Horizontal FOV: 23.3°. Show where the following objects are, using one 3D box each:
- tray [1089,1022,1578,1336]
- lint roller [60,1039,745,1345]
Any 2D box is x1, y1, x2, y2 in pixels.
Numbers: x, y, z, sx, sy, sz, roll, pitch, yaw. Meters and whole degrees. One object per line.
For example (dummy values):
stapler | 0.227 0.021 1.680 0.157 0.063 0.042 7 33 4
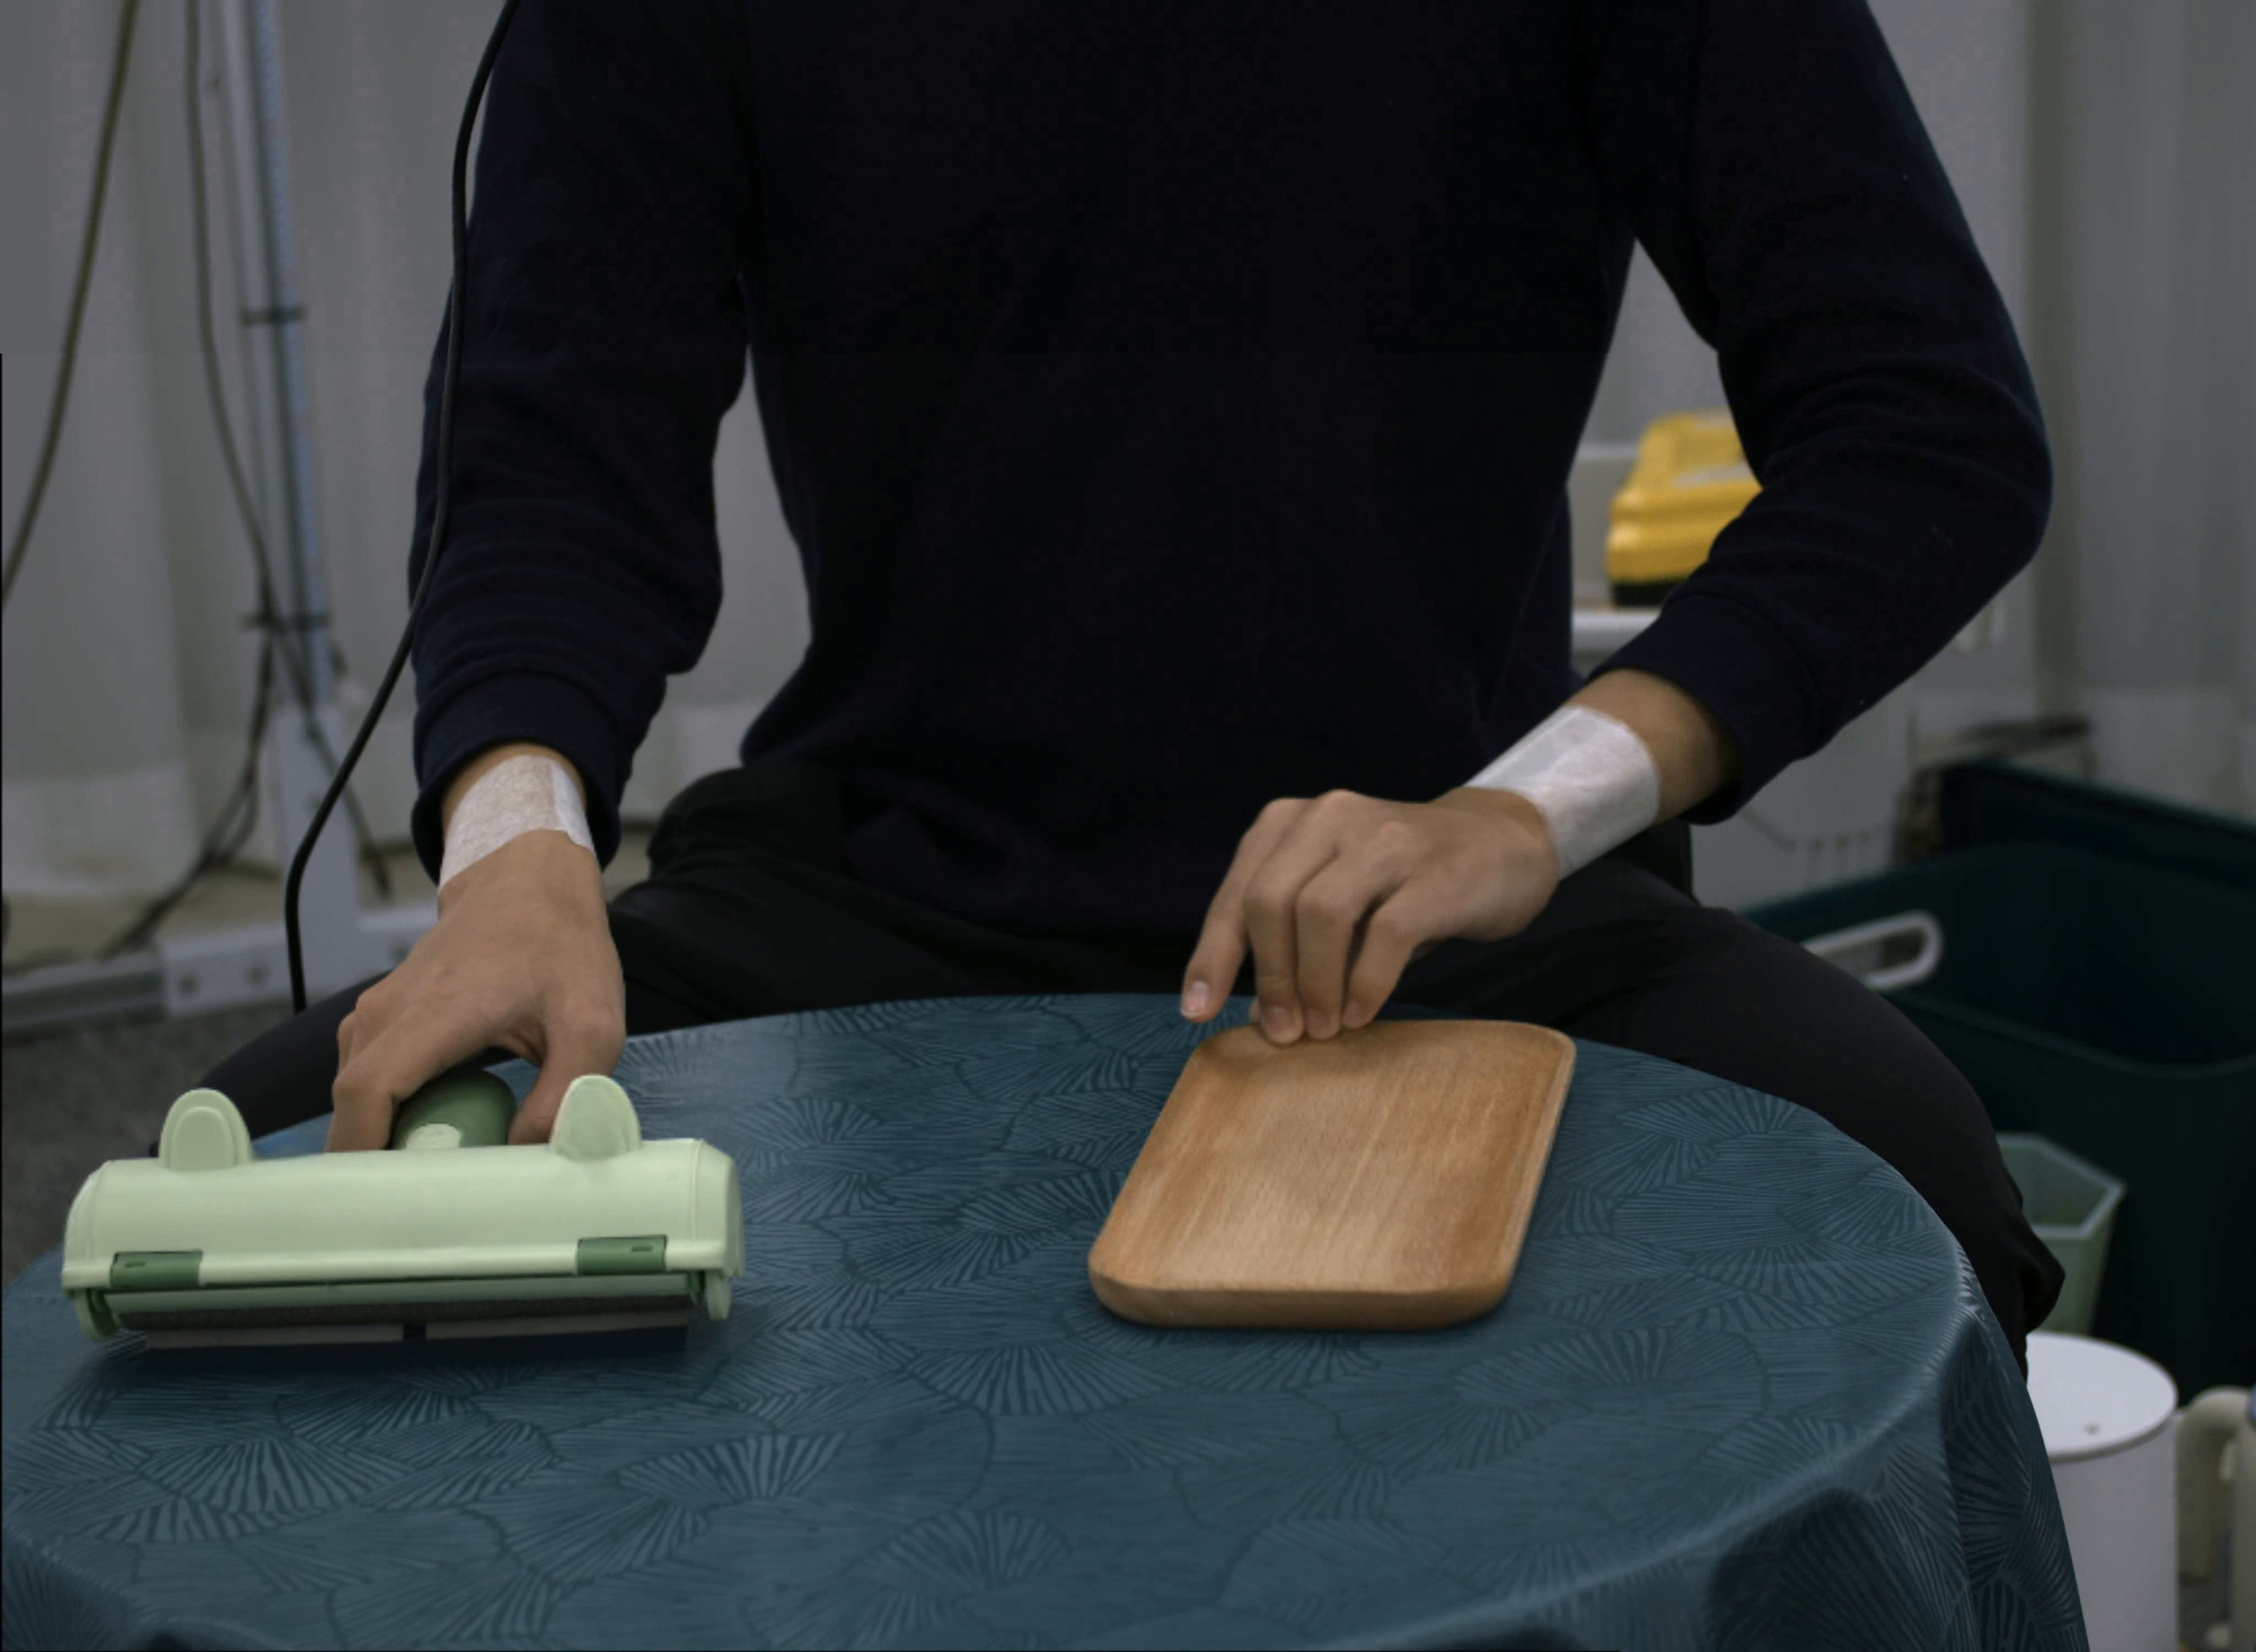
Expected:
tray | 0.067 0.107 1.693 0.130 0.023 0.252 2 16 10
lint roller | -0.212 0.090 1.659 0.198 0.081 0.185 -2 27 1
